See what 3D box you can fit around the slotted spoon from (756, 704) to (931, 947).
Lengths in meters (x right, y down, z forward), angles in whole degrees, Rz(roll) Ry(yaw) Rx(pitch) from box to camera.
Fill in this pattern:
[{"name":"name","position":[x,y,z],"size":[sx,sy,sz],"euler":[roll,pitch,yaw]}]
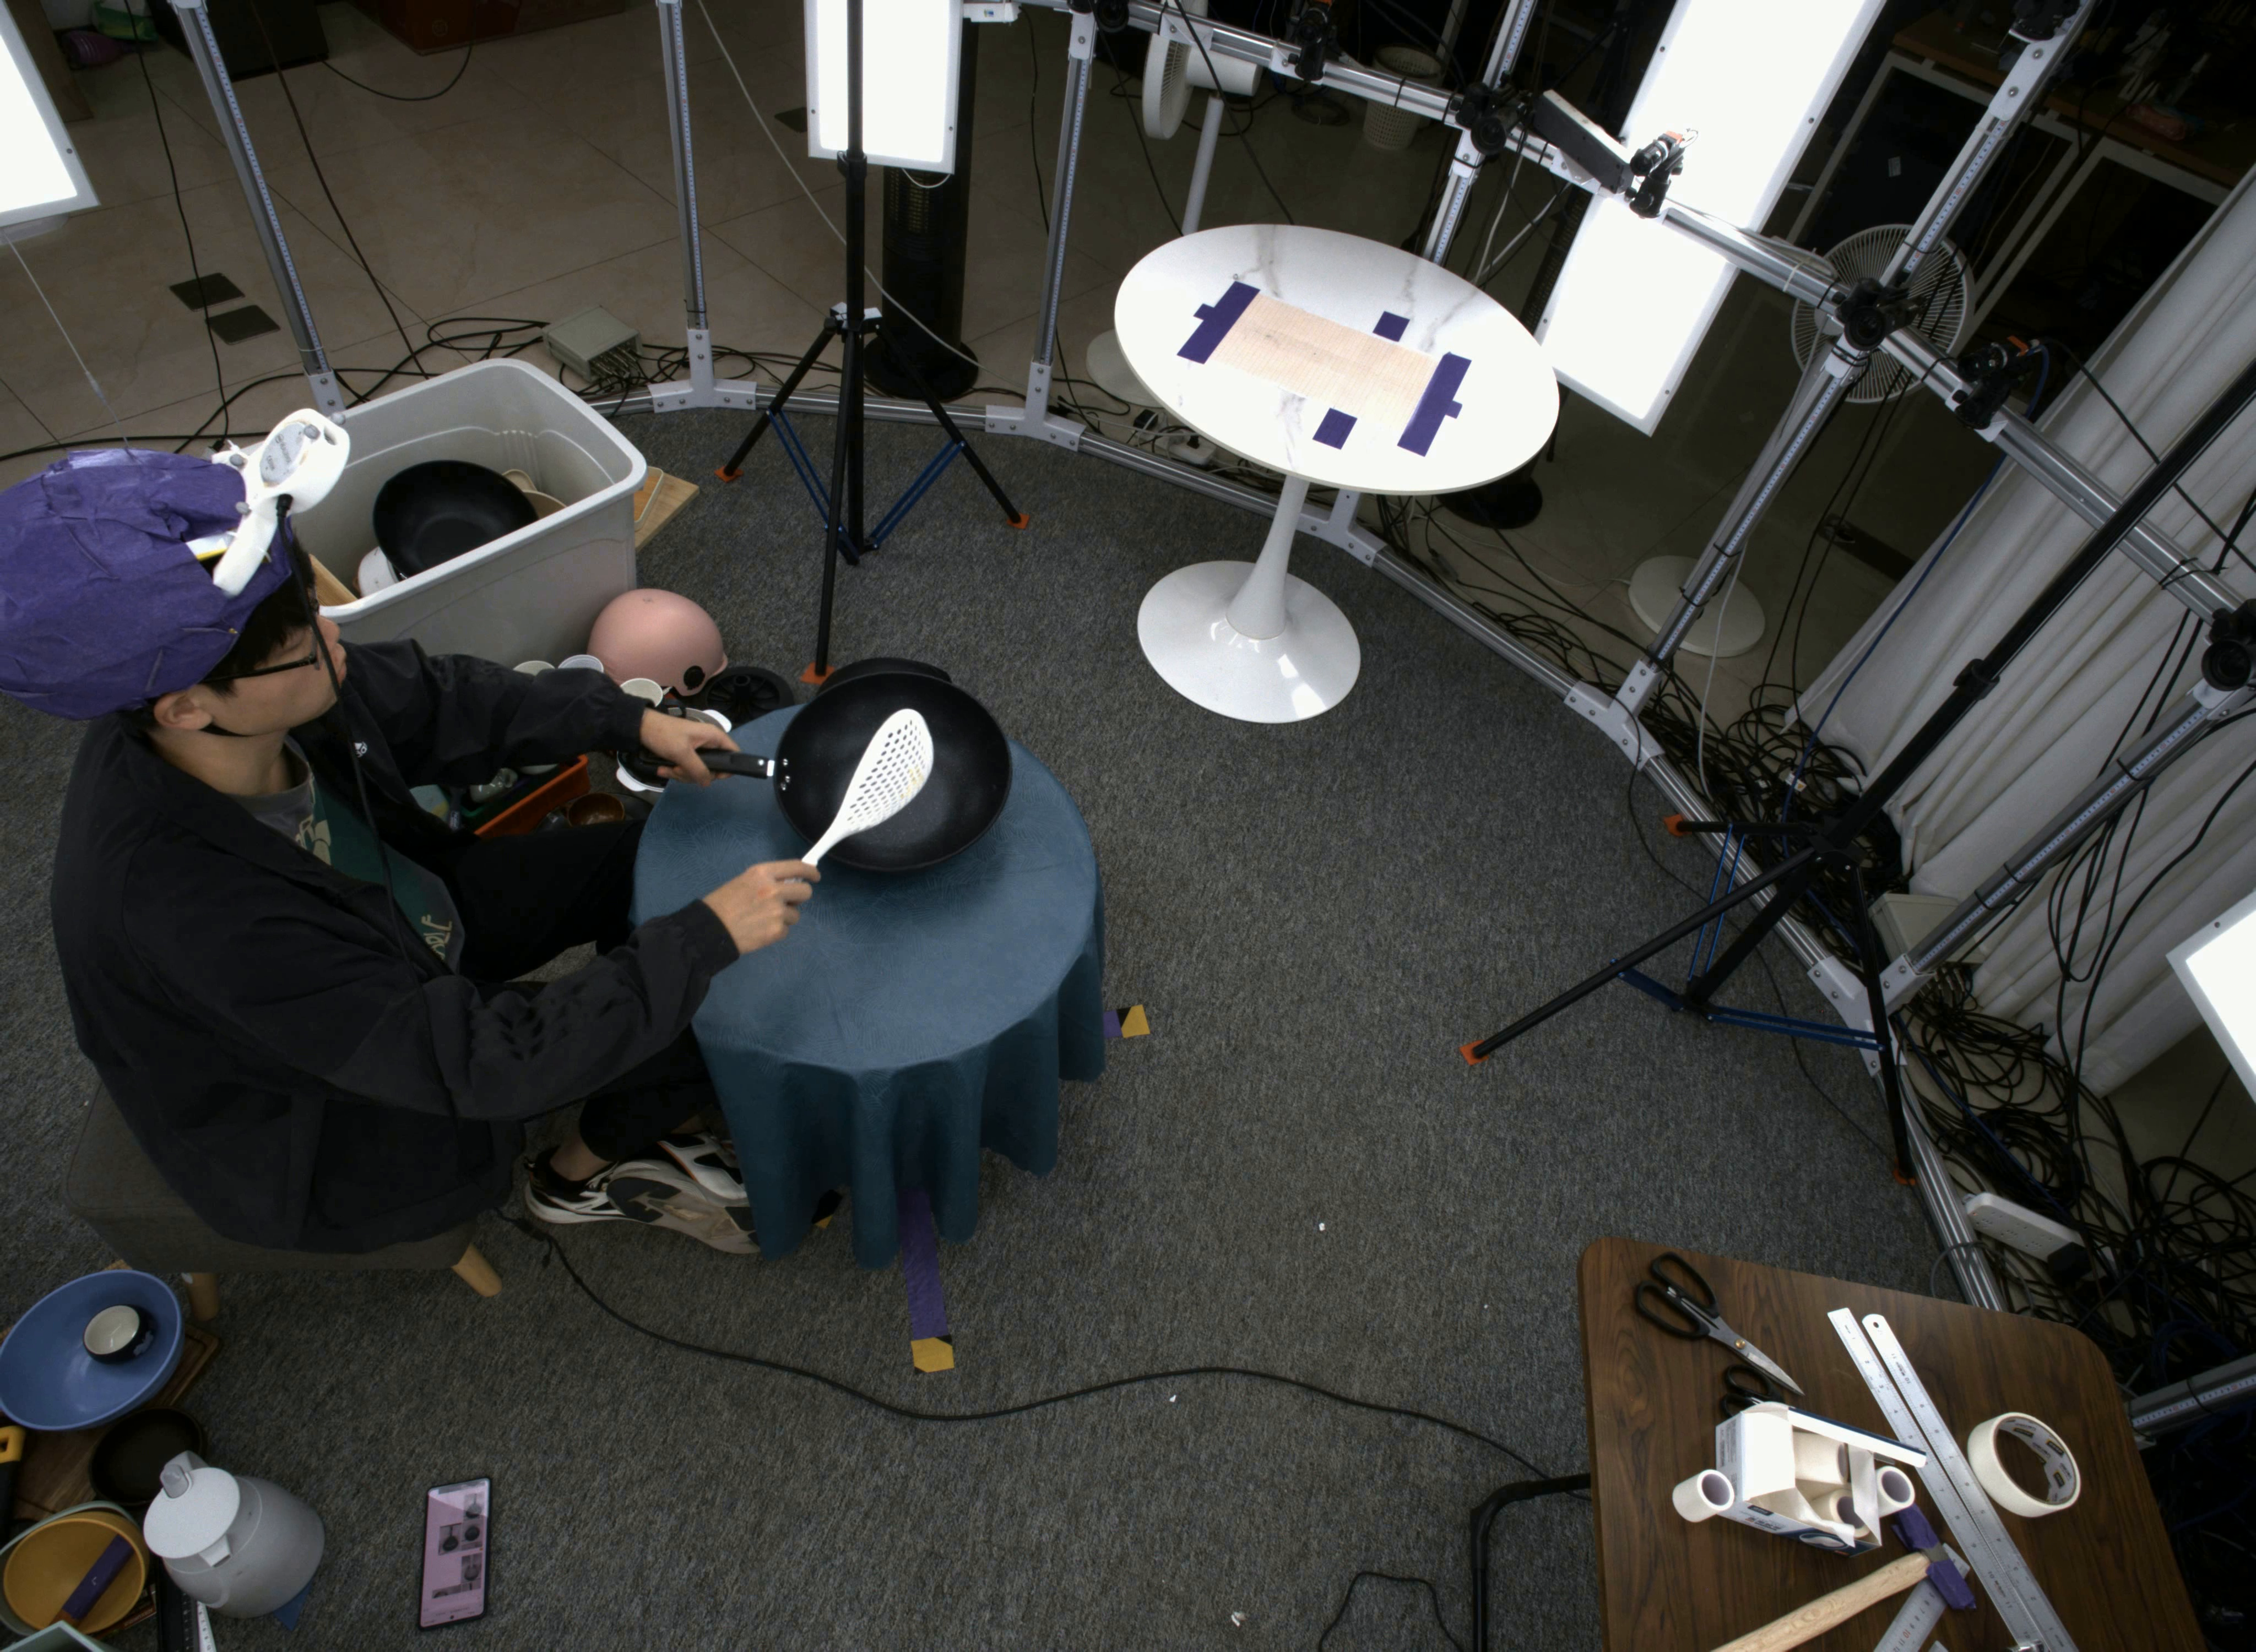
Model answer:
[{"name":"slotted spoon","position":[-0.330,0.003,1.518],"size":[0.049,0.141,0.347],"euler":[27,61,22]}]

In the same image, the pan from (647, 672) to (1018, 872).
[{"name":"pan","position":[-0.384,-0.065,1.711],"size":[0.476,0.114,0.305],"euler":[0,59,-10]}]
